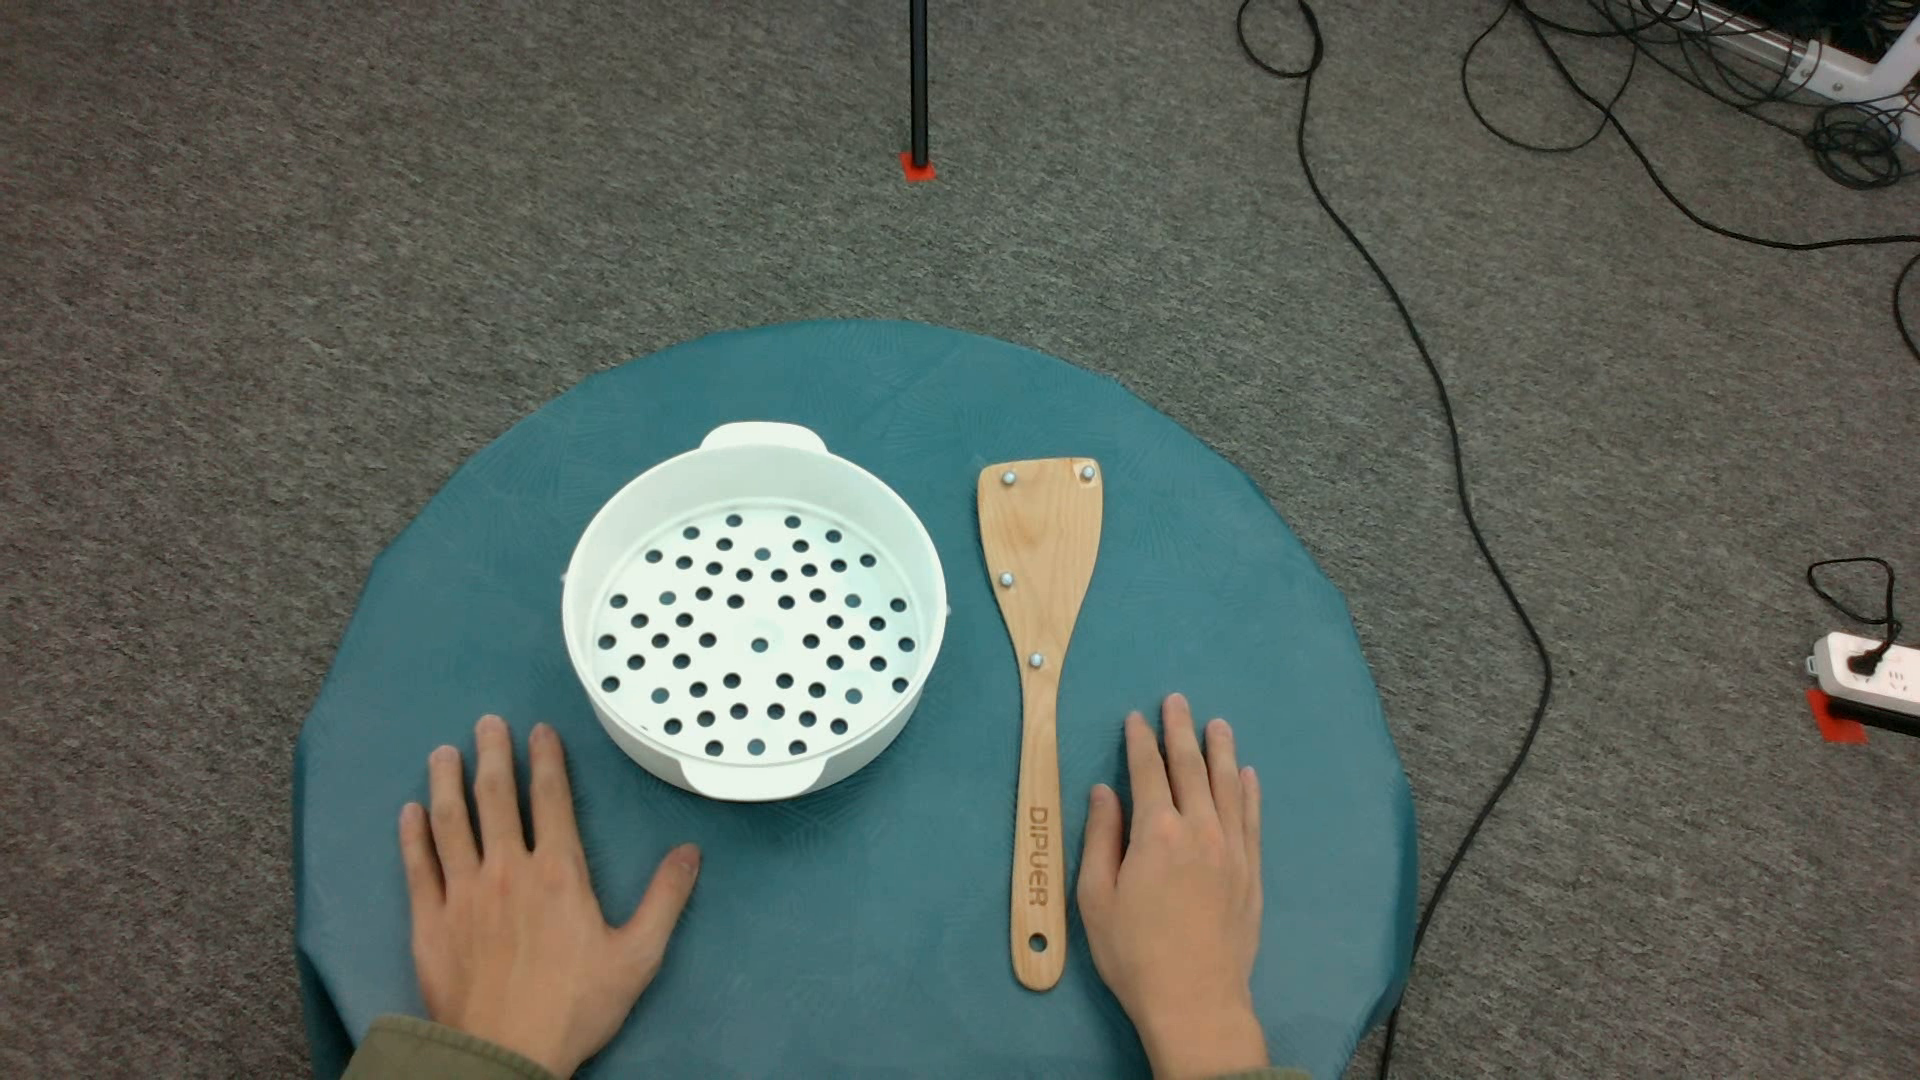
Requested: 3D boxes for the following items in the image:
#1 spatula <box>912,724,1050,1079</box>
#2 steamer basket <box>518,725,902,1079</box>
[{"bbox_3d":[0.027,0.240,0.769,0.080,0.016,0.329,-4,45,-7],"label":"spatula"},{"bbox_3d":[-0.133,0.212,0.754,0.202,0.069,0.231,-7,47,-9],"label":"steamer basket"}]
